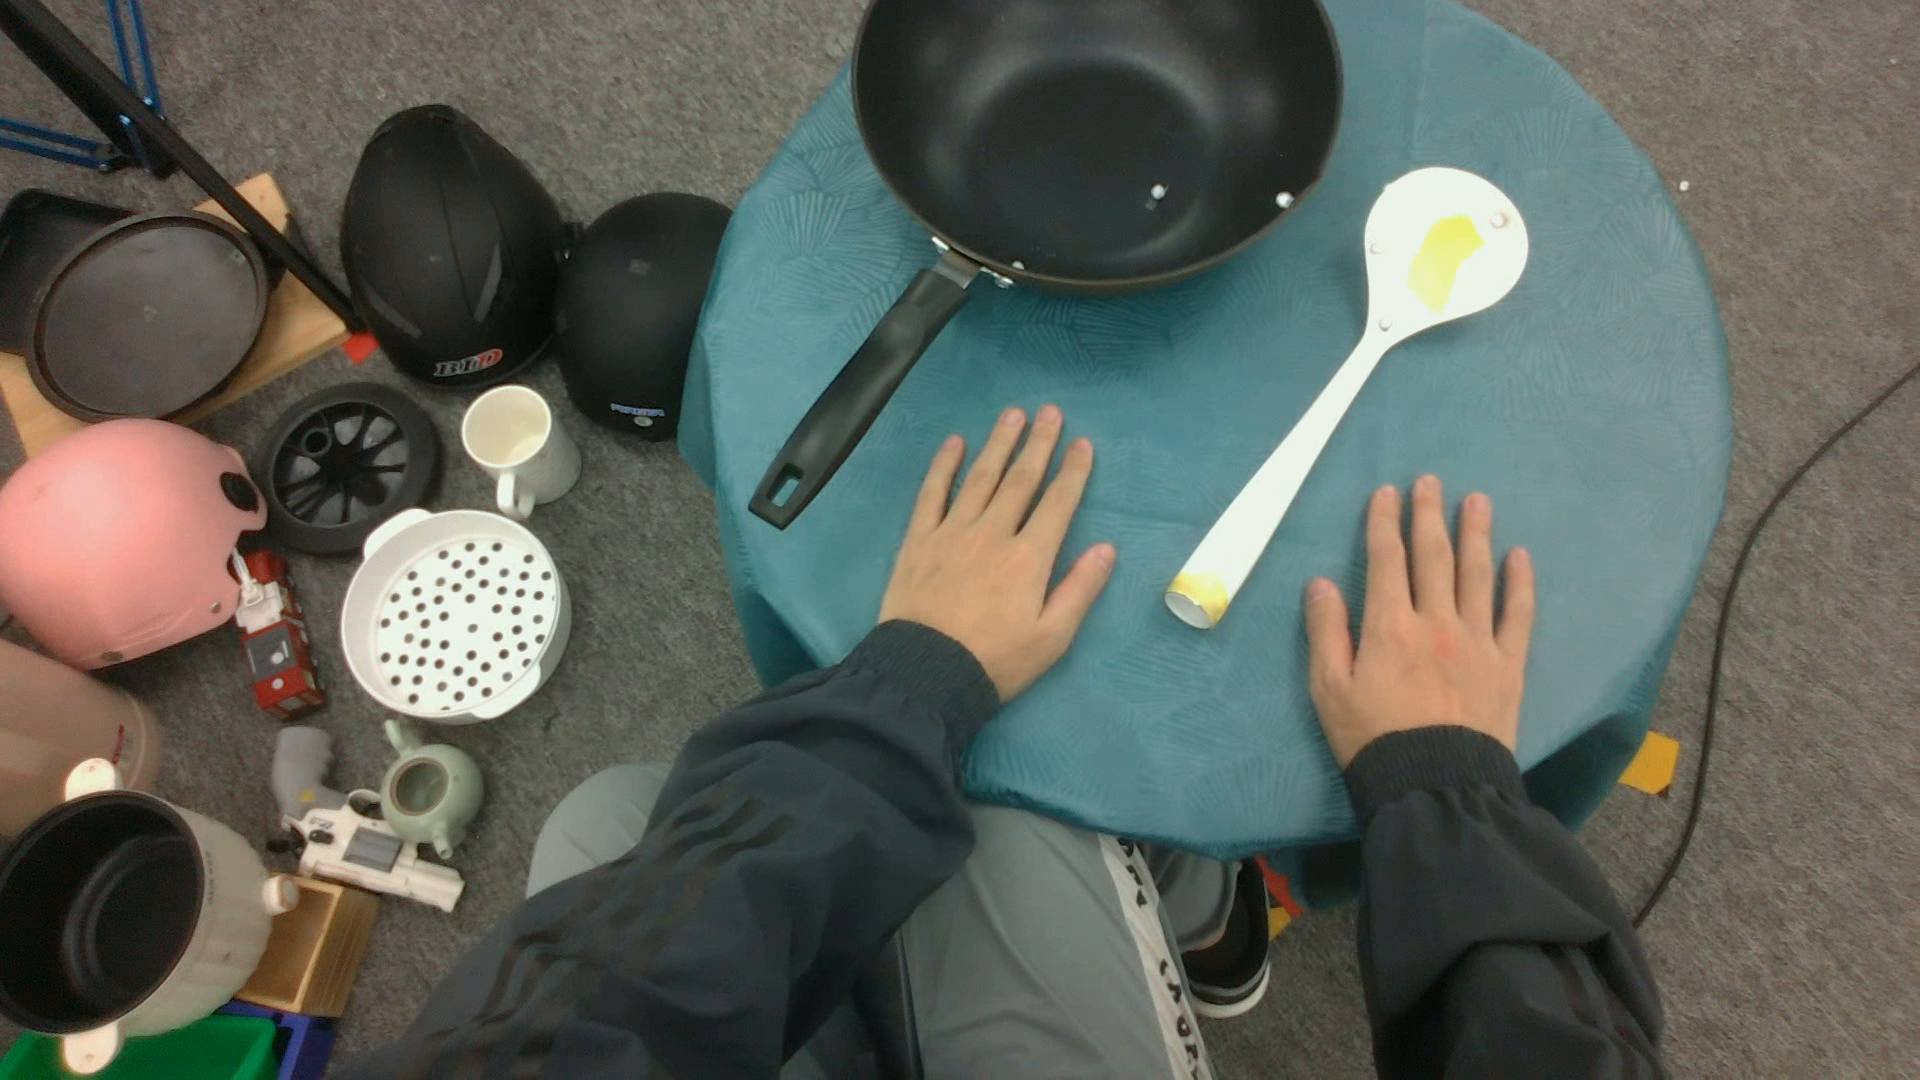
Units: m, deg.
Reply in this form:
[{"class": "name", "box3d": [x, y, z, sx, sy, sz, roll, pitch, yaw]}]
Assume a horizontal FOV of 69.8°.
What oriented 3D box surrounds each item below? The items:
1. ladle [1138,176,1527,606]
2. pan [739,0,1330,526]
[{"class": "ladle", "box3d": [0.207, -0.082, 0.780, 0.090, 0.070, 0.293, 42, 77, 1]}, {"class": "pan", "box3d": [0.026, -0.183, 0.816, 0.288, 0.086, 0.464, 30, 75, 13]}]
